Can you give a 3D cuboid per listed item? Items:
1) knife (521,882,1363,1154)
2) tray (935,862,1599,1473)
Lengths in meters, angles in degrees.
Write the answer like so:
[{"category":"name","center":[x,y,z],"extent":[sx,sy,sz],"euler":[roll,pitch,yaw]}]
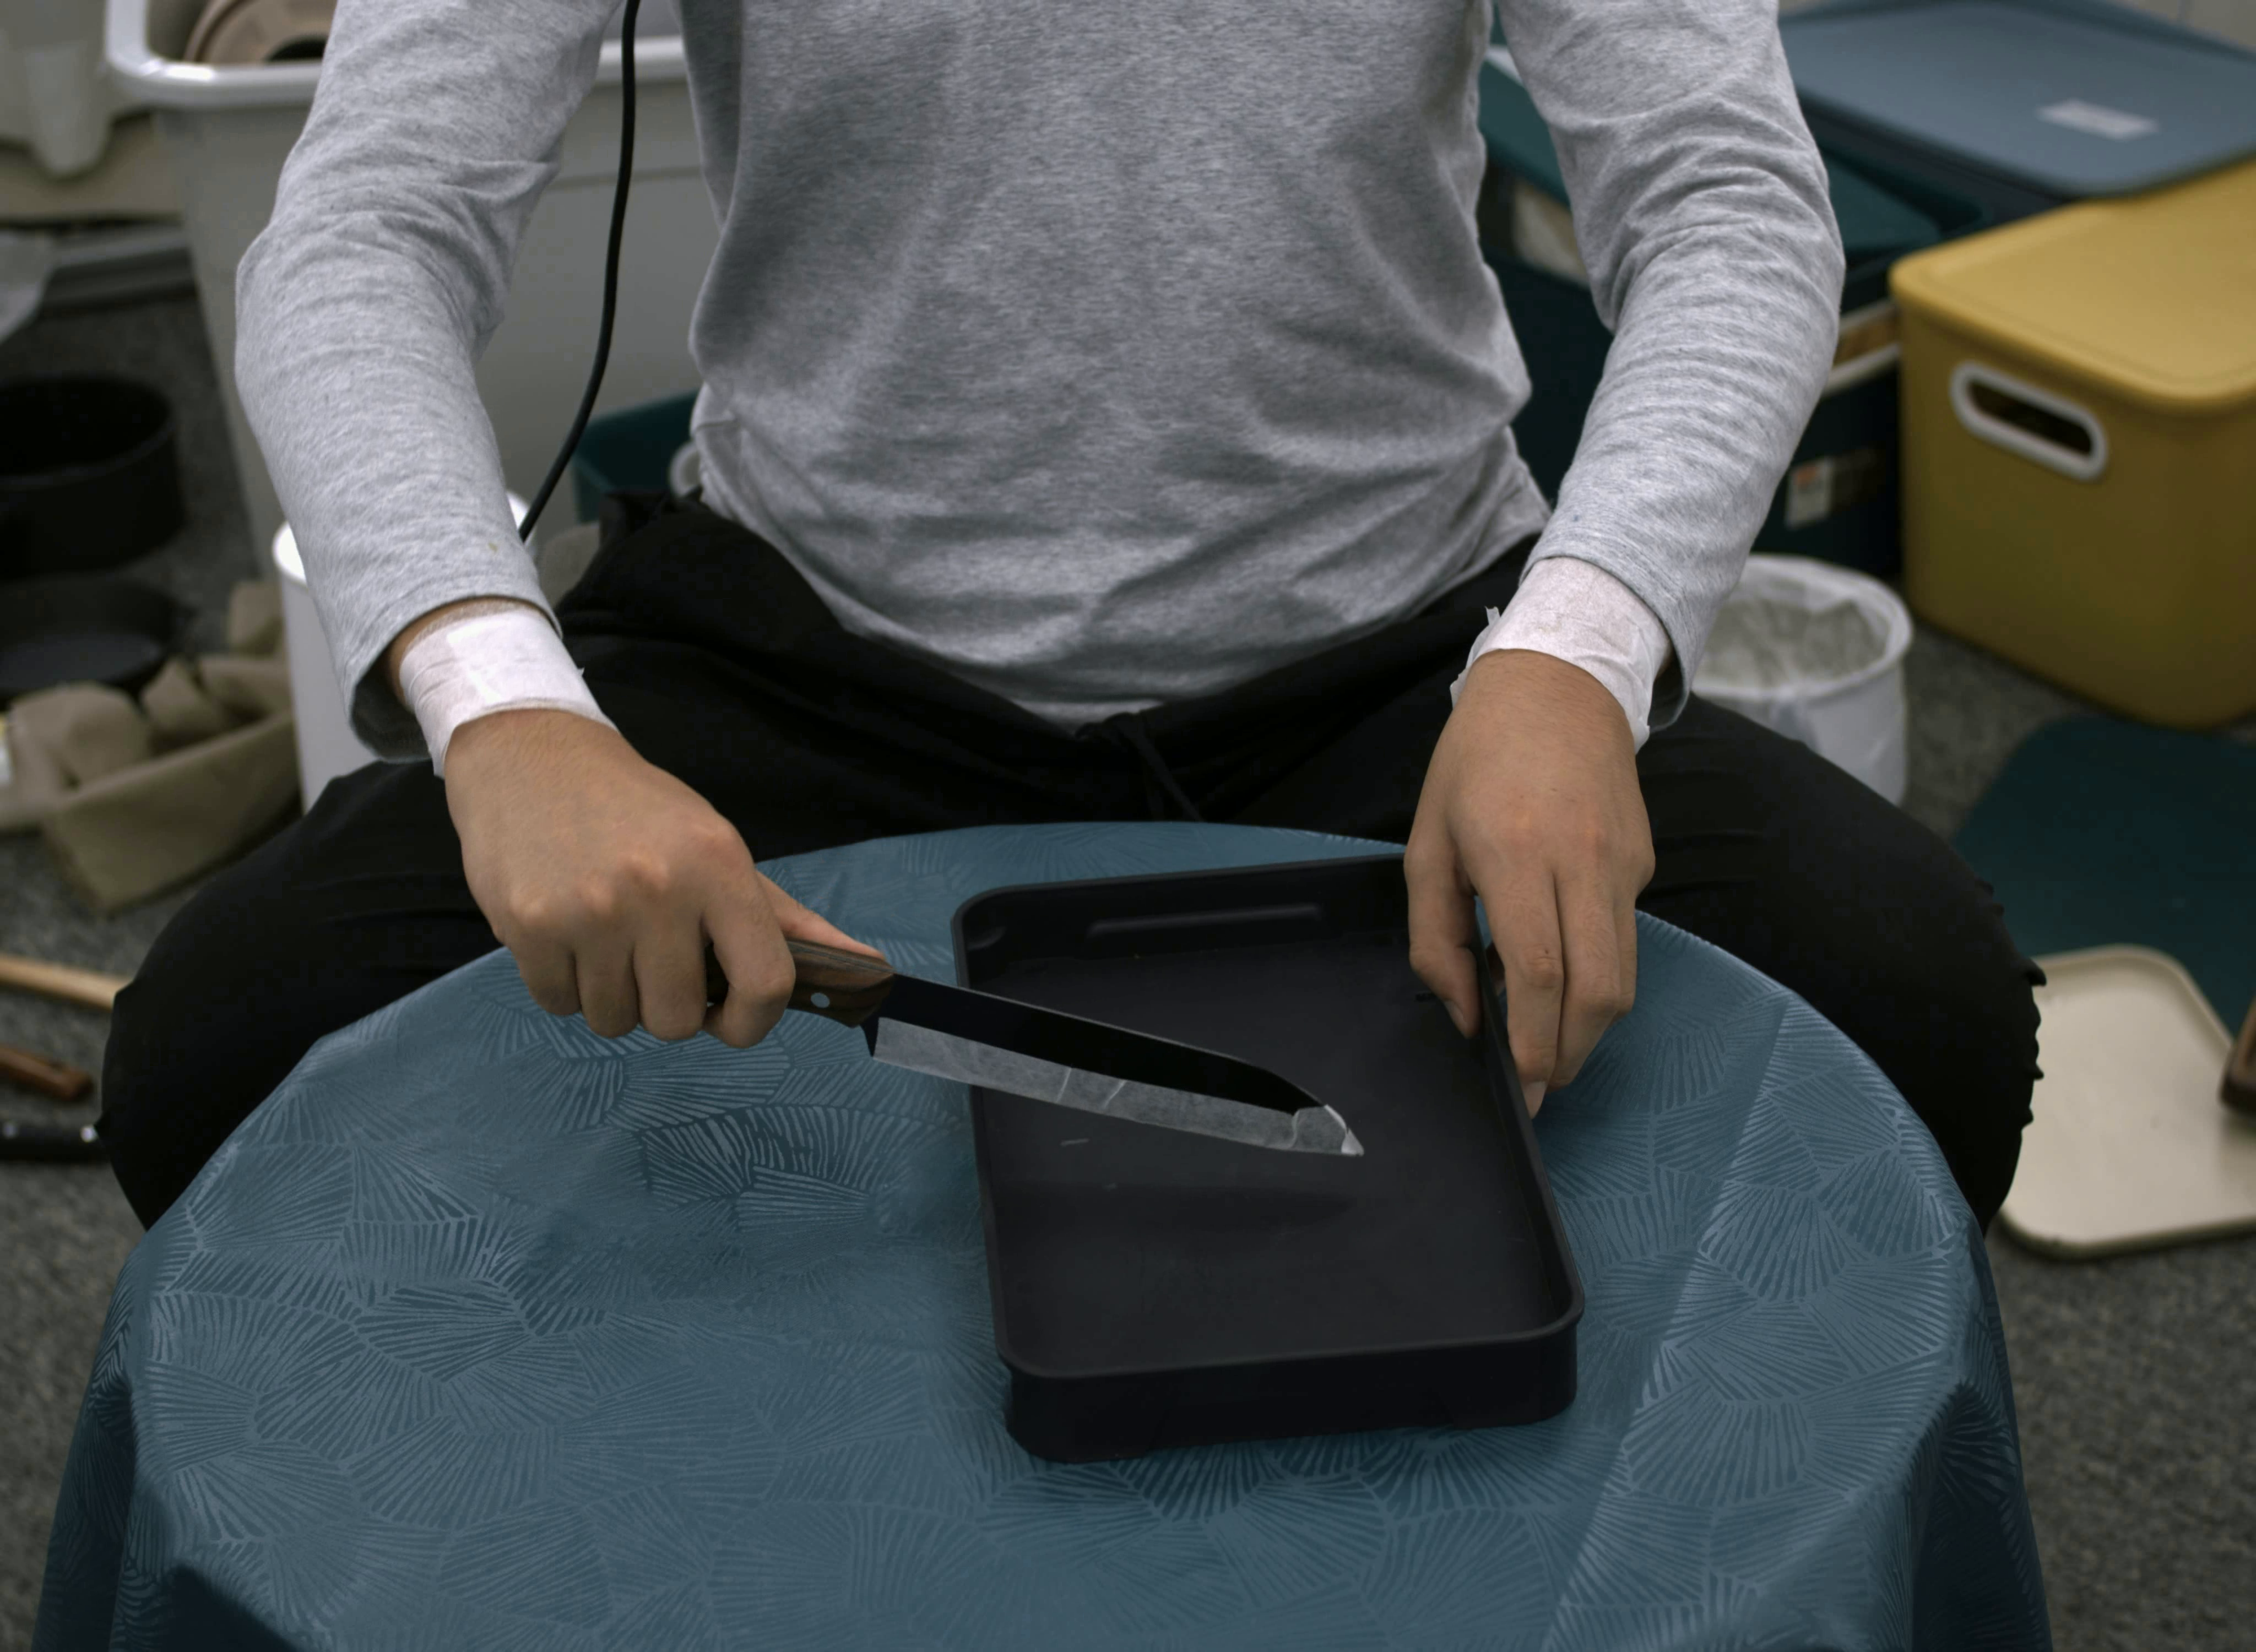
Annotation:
[{"category":"knife","center":[-0.061,0.065,1.846],"extent":[0.288,0.049,0.020],"euler":[16,46,2]},{"category":"tray","center":[0.039,0.106,1.850],"extent":[0.184,0.036,0.322],"euler":[-5,27,-5]}]
